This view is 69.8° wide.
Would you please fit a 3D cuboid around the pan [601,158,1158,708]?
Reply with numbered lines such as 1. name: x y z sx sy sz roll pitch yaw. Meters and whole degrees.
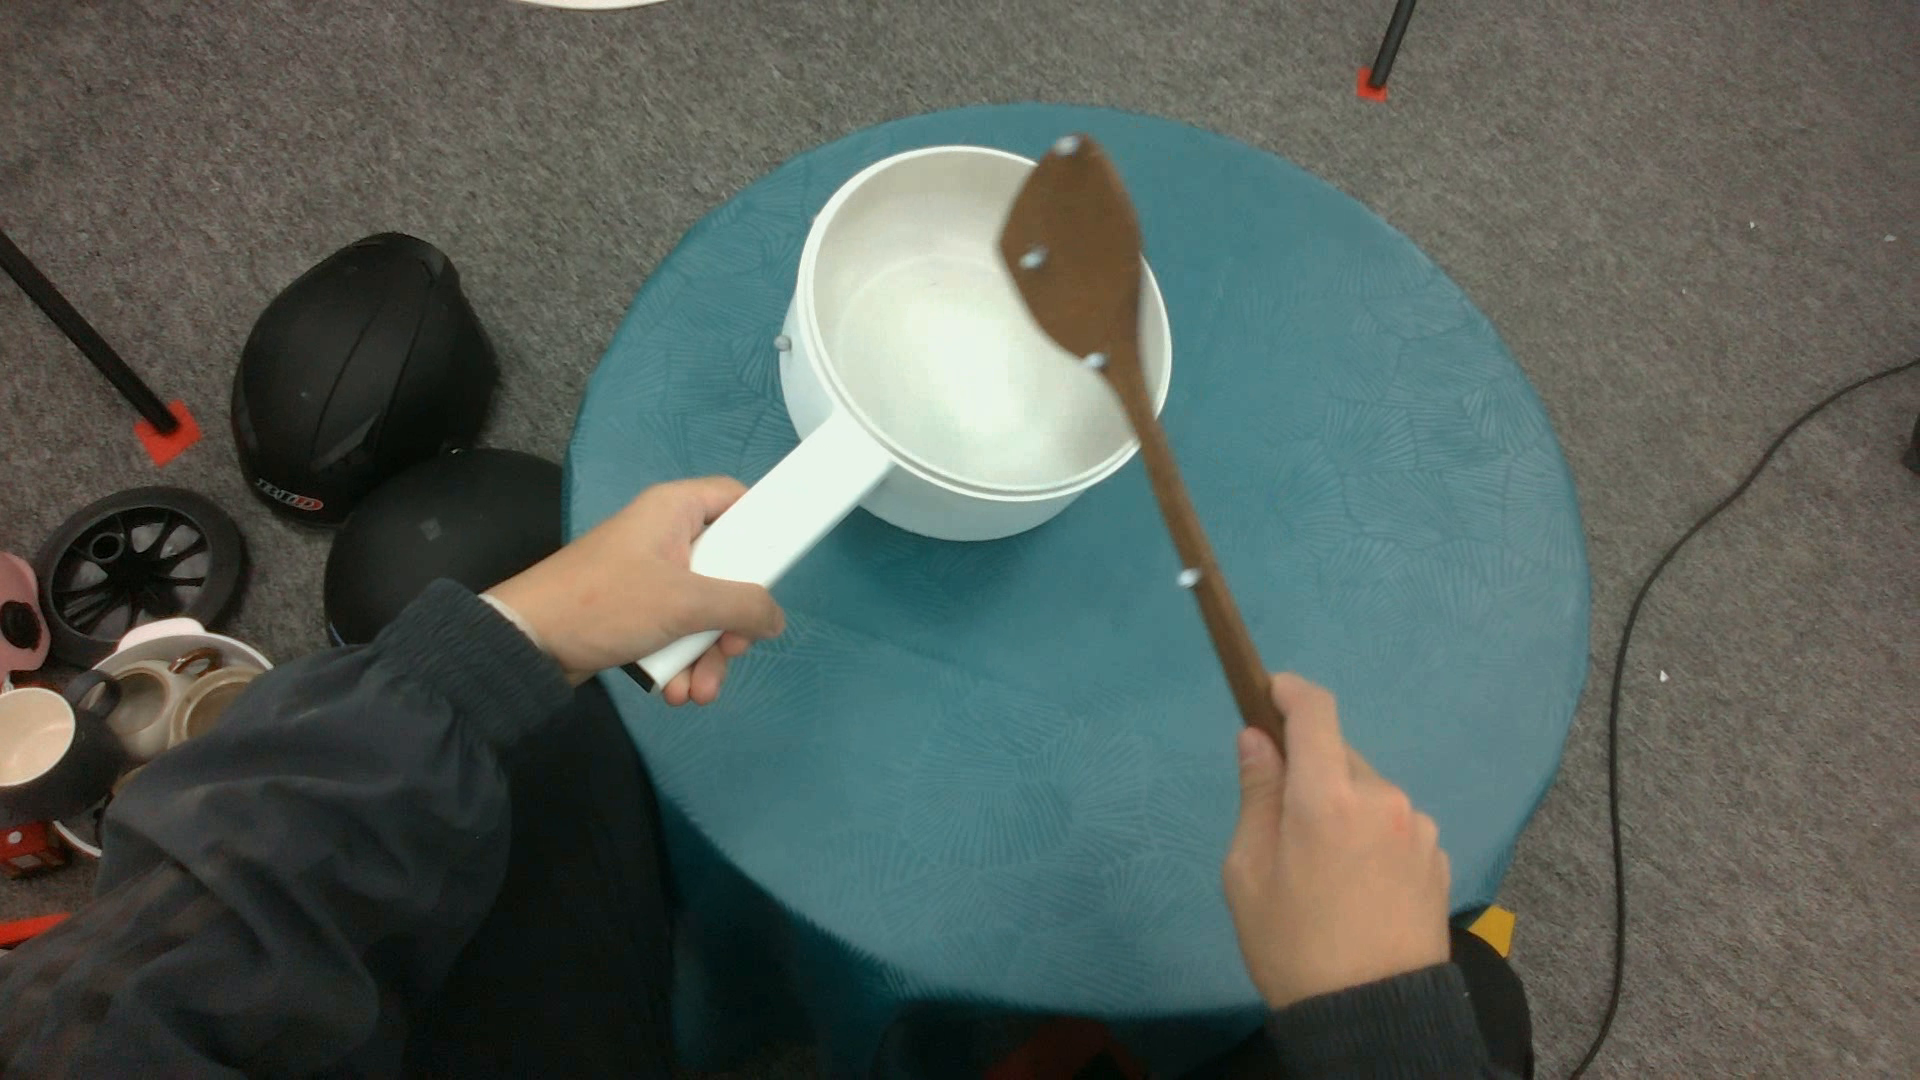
1. pan: -0.047 -0.046 0.721 0.201 0.101 0.356 41 64 0

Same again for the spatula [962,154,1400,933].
1. spatula: 0.096 -0.003 0.623 0.016 0.095 0.386 -17 72 -30
